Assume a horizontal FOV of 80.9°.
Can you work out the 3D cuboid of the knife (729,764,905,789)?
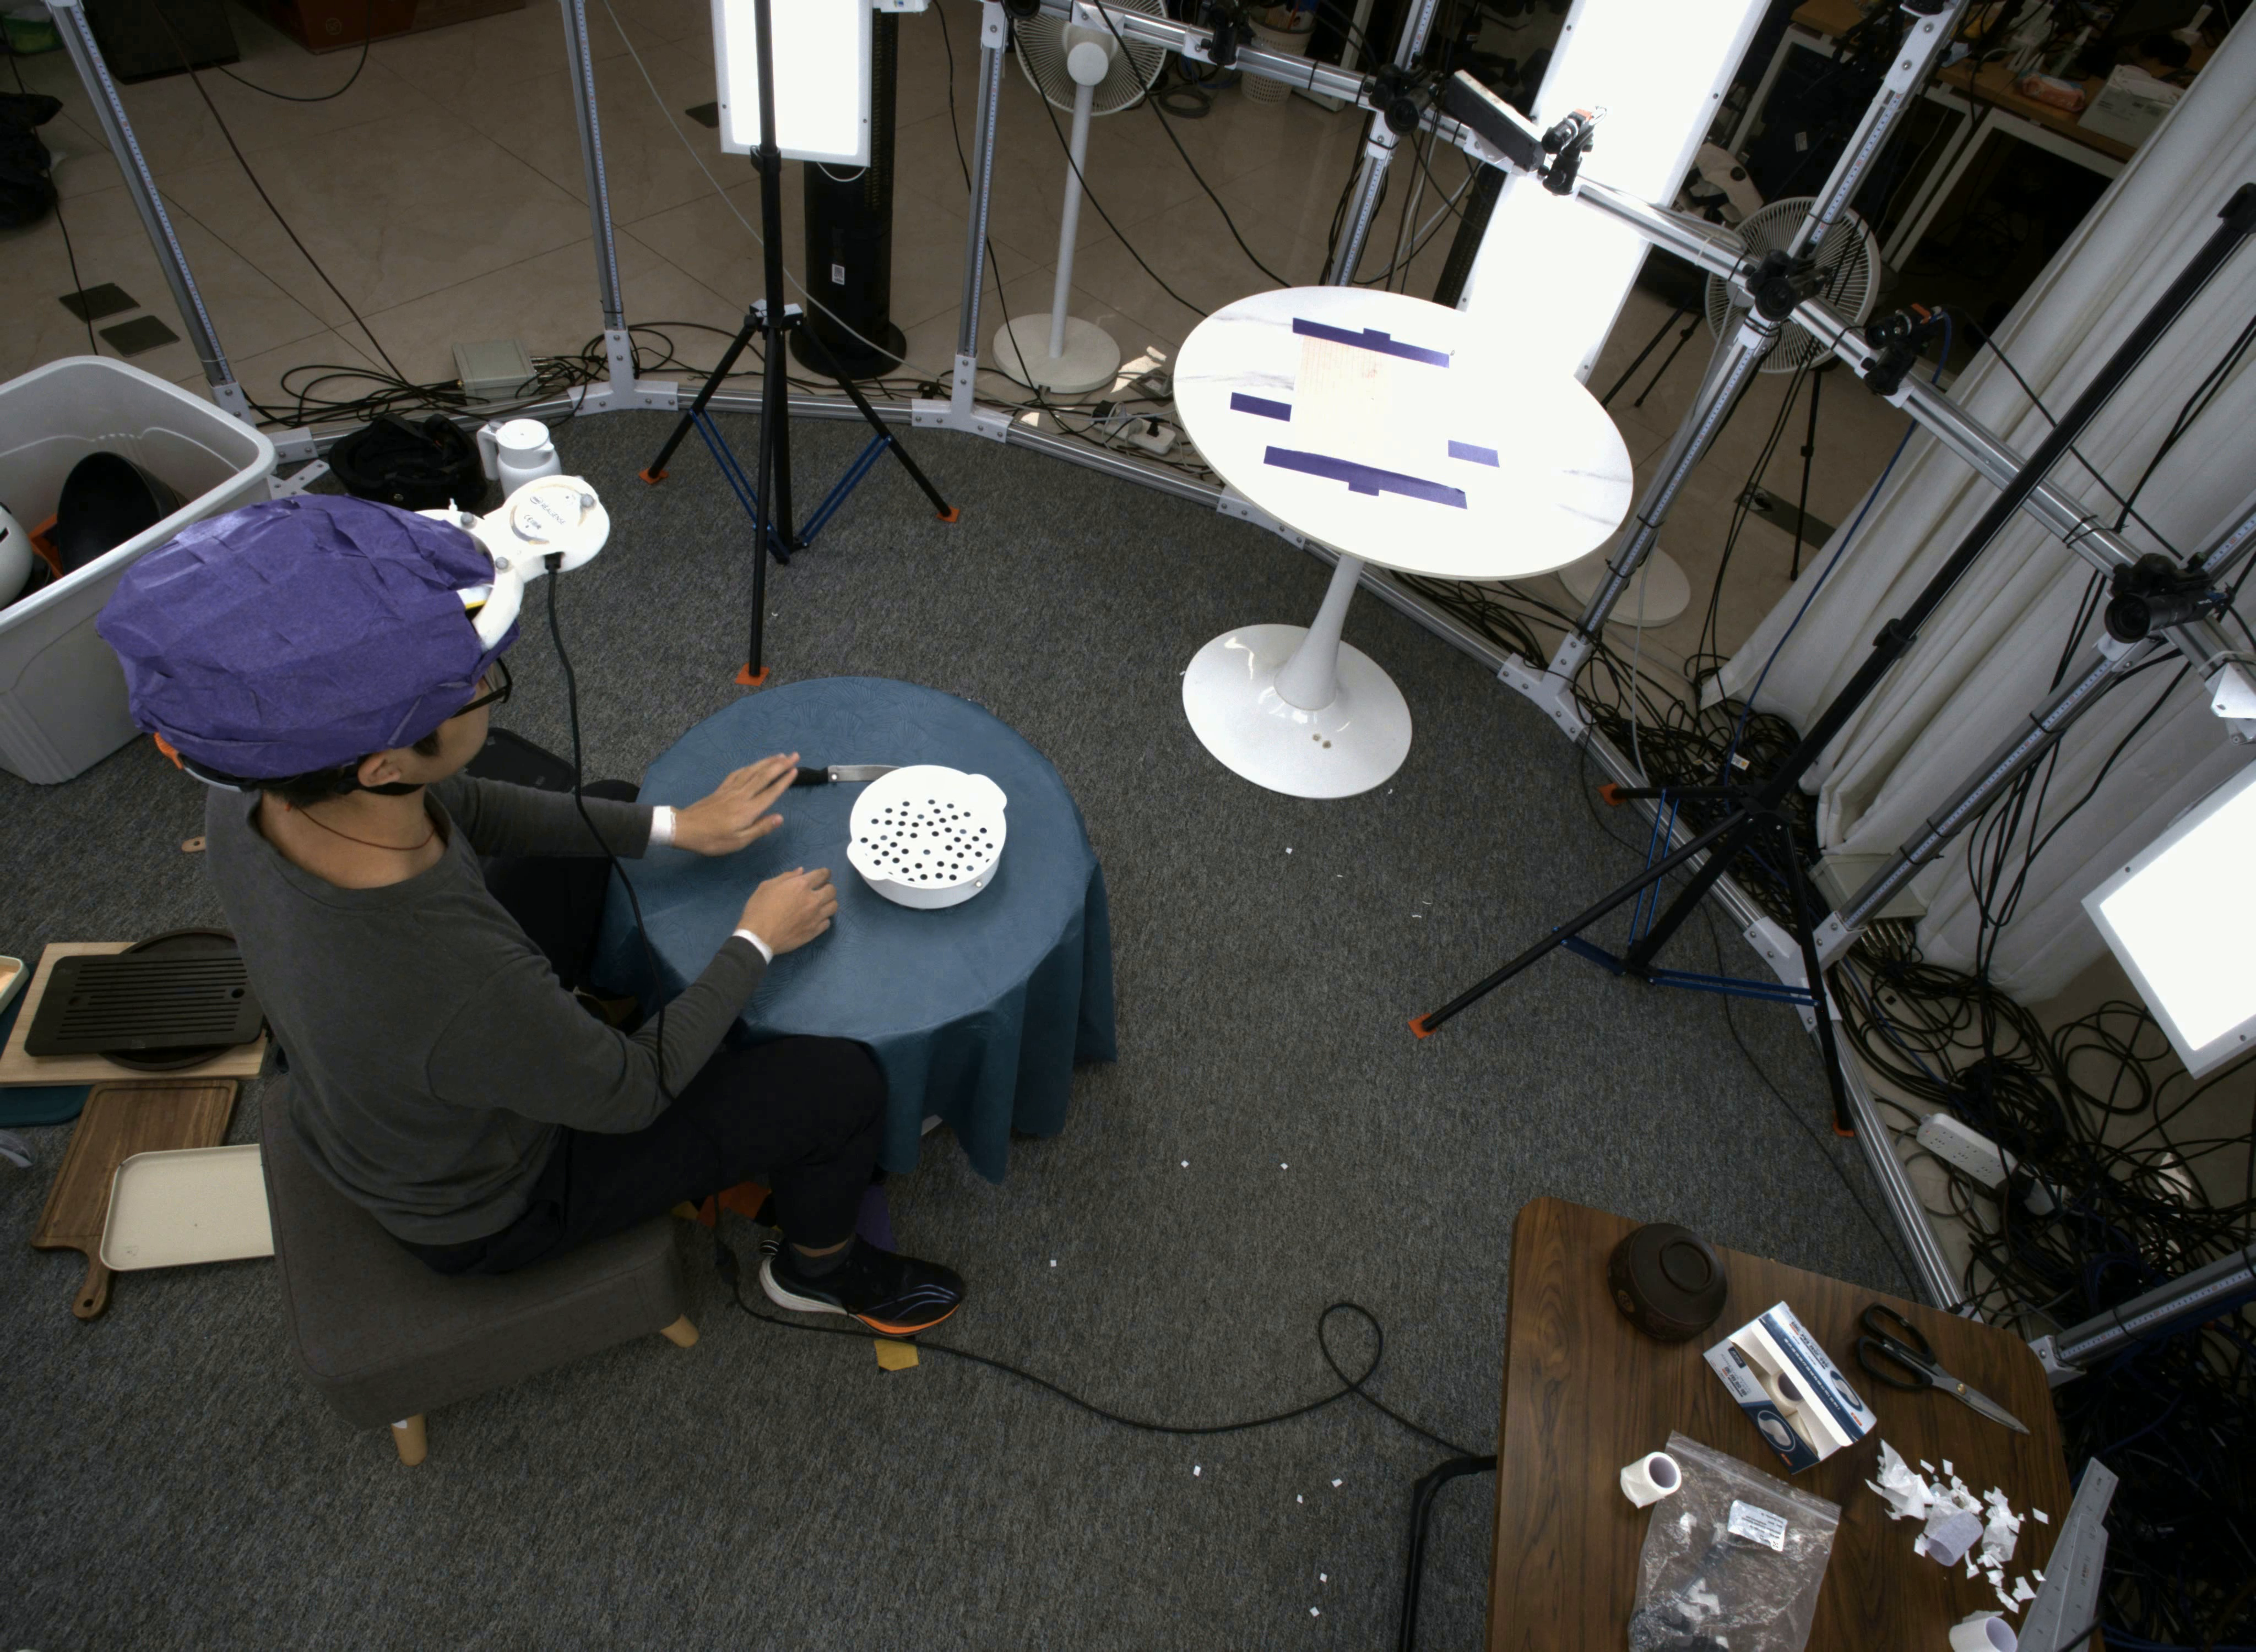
[{"bbox_3d":[-0.423,-0.069,1.775,0.239,0.025,0.016,-5,24,-18],"label":"knife"}]

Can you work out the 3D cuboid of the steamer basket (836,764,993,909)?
[{"bbox_3d":[-0.280,0.014,1.719,0.231,0.071,0.197,-35,68,-31],"label":"steamer basket"}]
